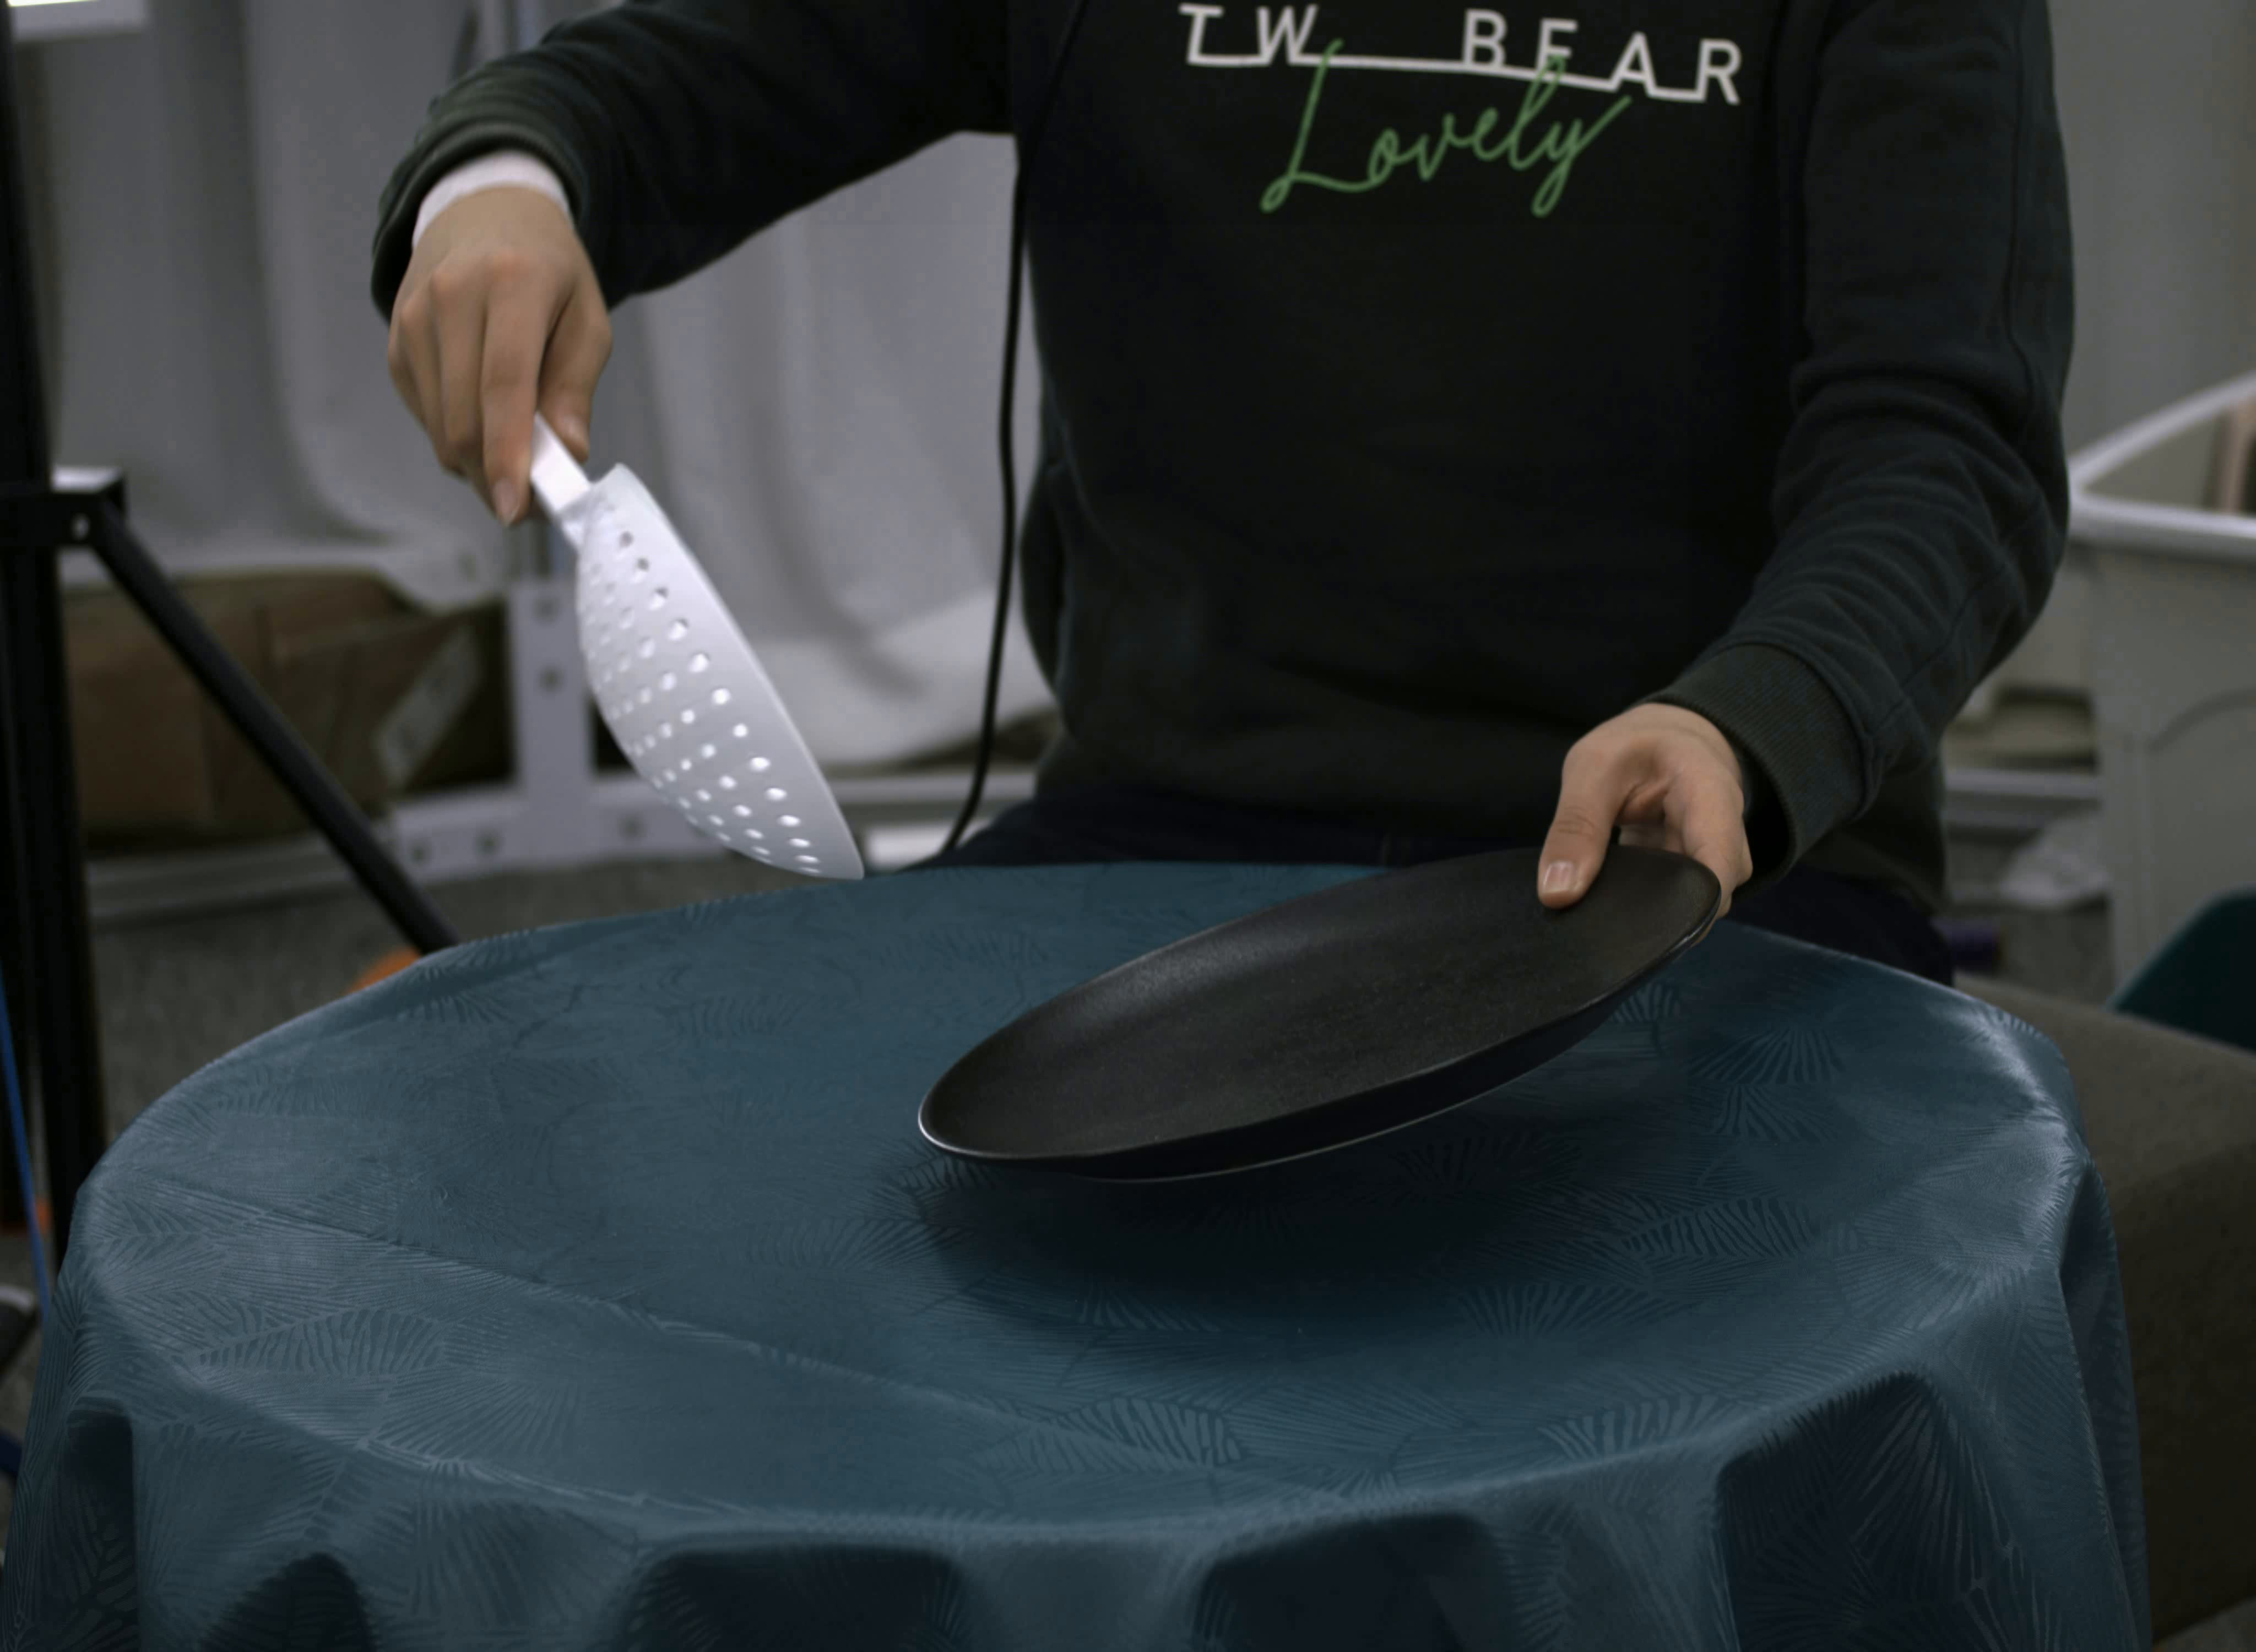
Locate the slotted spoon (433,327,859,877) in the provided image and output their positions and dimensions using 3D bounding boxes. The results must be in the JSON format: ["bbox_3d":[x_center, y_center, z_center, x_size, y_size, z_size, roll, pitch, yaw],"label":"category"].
[{"bbox_3d":[-0.156,-0.084,1.599,0.045,0.134,0.356,-28,30,-3],"label":"slotted spoon"}]

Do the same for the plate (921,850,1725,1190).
[{"bbox_3d":[0.058,0.060,1.545,0.244,0.023,0.245,-17,12,2],"label":"plate"}]
